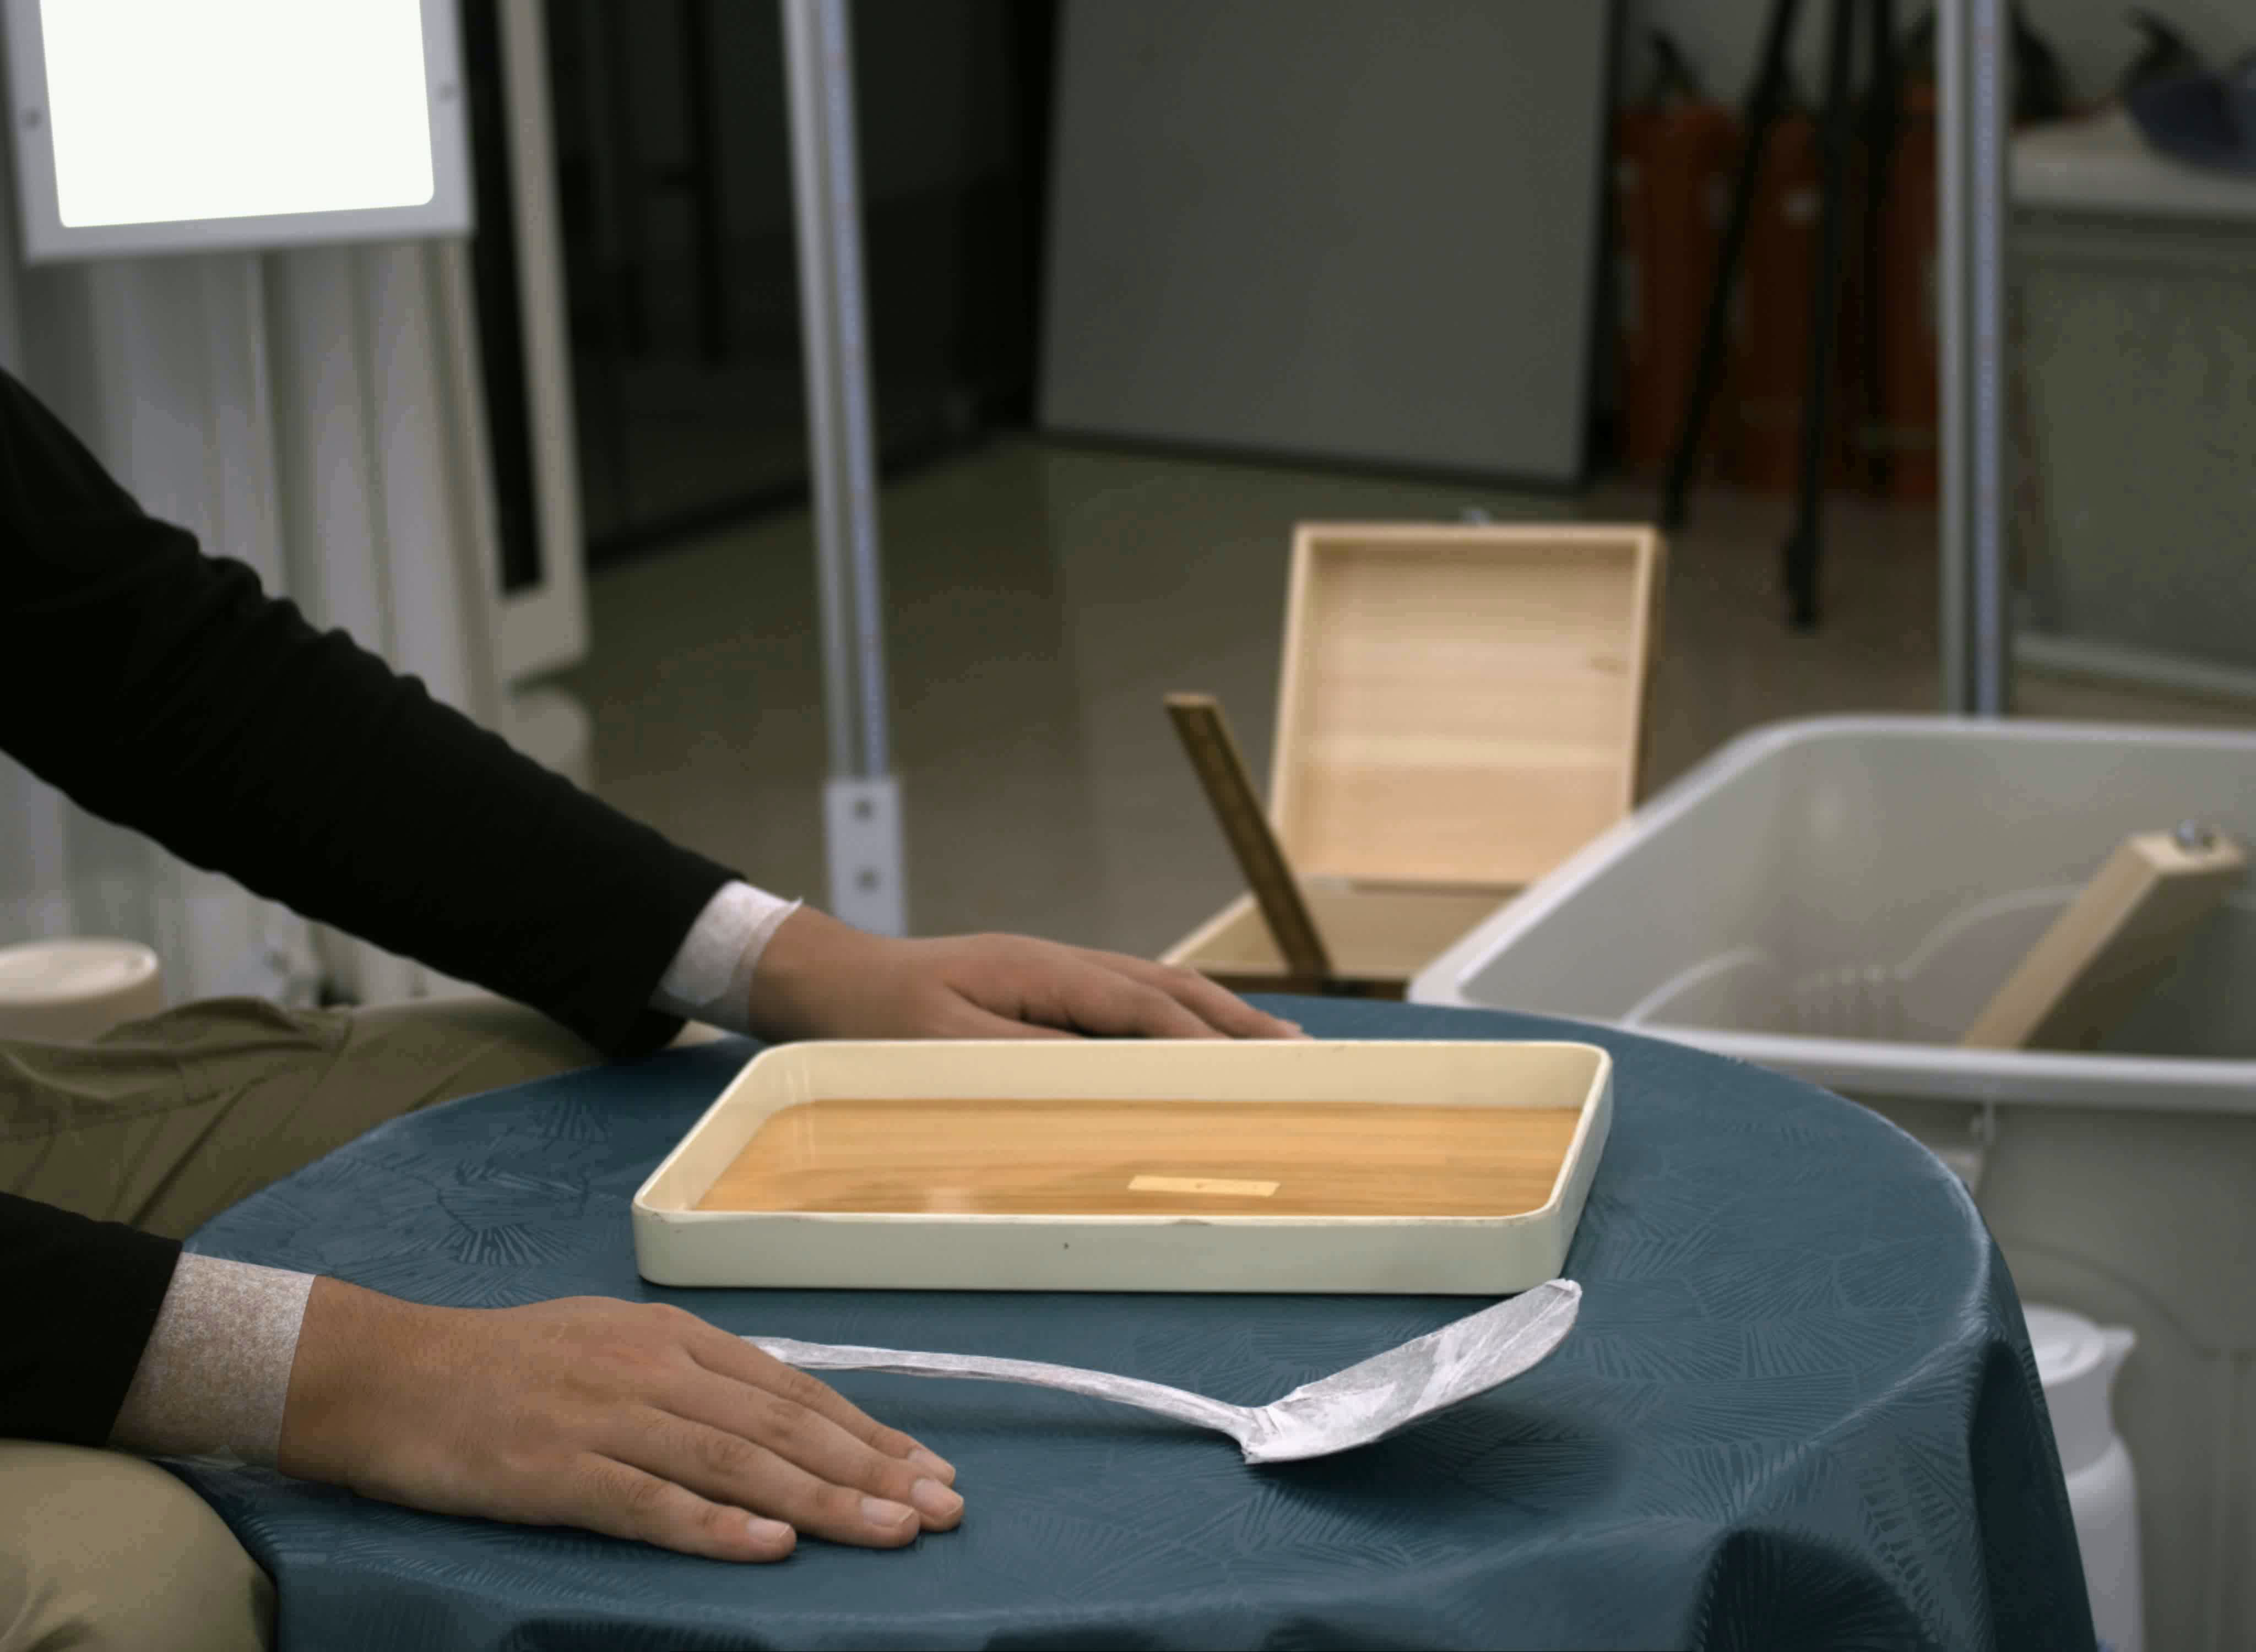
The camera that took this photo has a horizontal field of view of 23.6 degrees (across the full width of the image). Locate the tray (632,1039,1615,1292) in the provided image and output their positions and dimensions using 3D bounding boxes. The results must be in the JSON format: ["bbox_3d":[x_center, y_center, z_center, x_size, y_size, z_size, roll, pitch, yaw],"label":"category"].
[{"bbox_3d":[0.003,0.110,1.757,0.298,0.028,0.190,-1,14,13],"label":"tray"}]

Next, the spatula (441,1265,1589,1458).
[{"bbox_3d":[-0.043,0.154,1.569,0.364,0.045,0.098,1,15,20],"label":"spatula"}]
